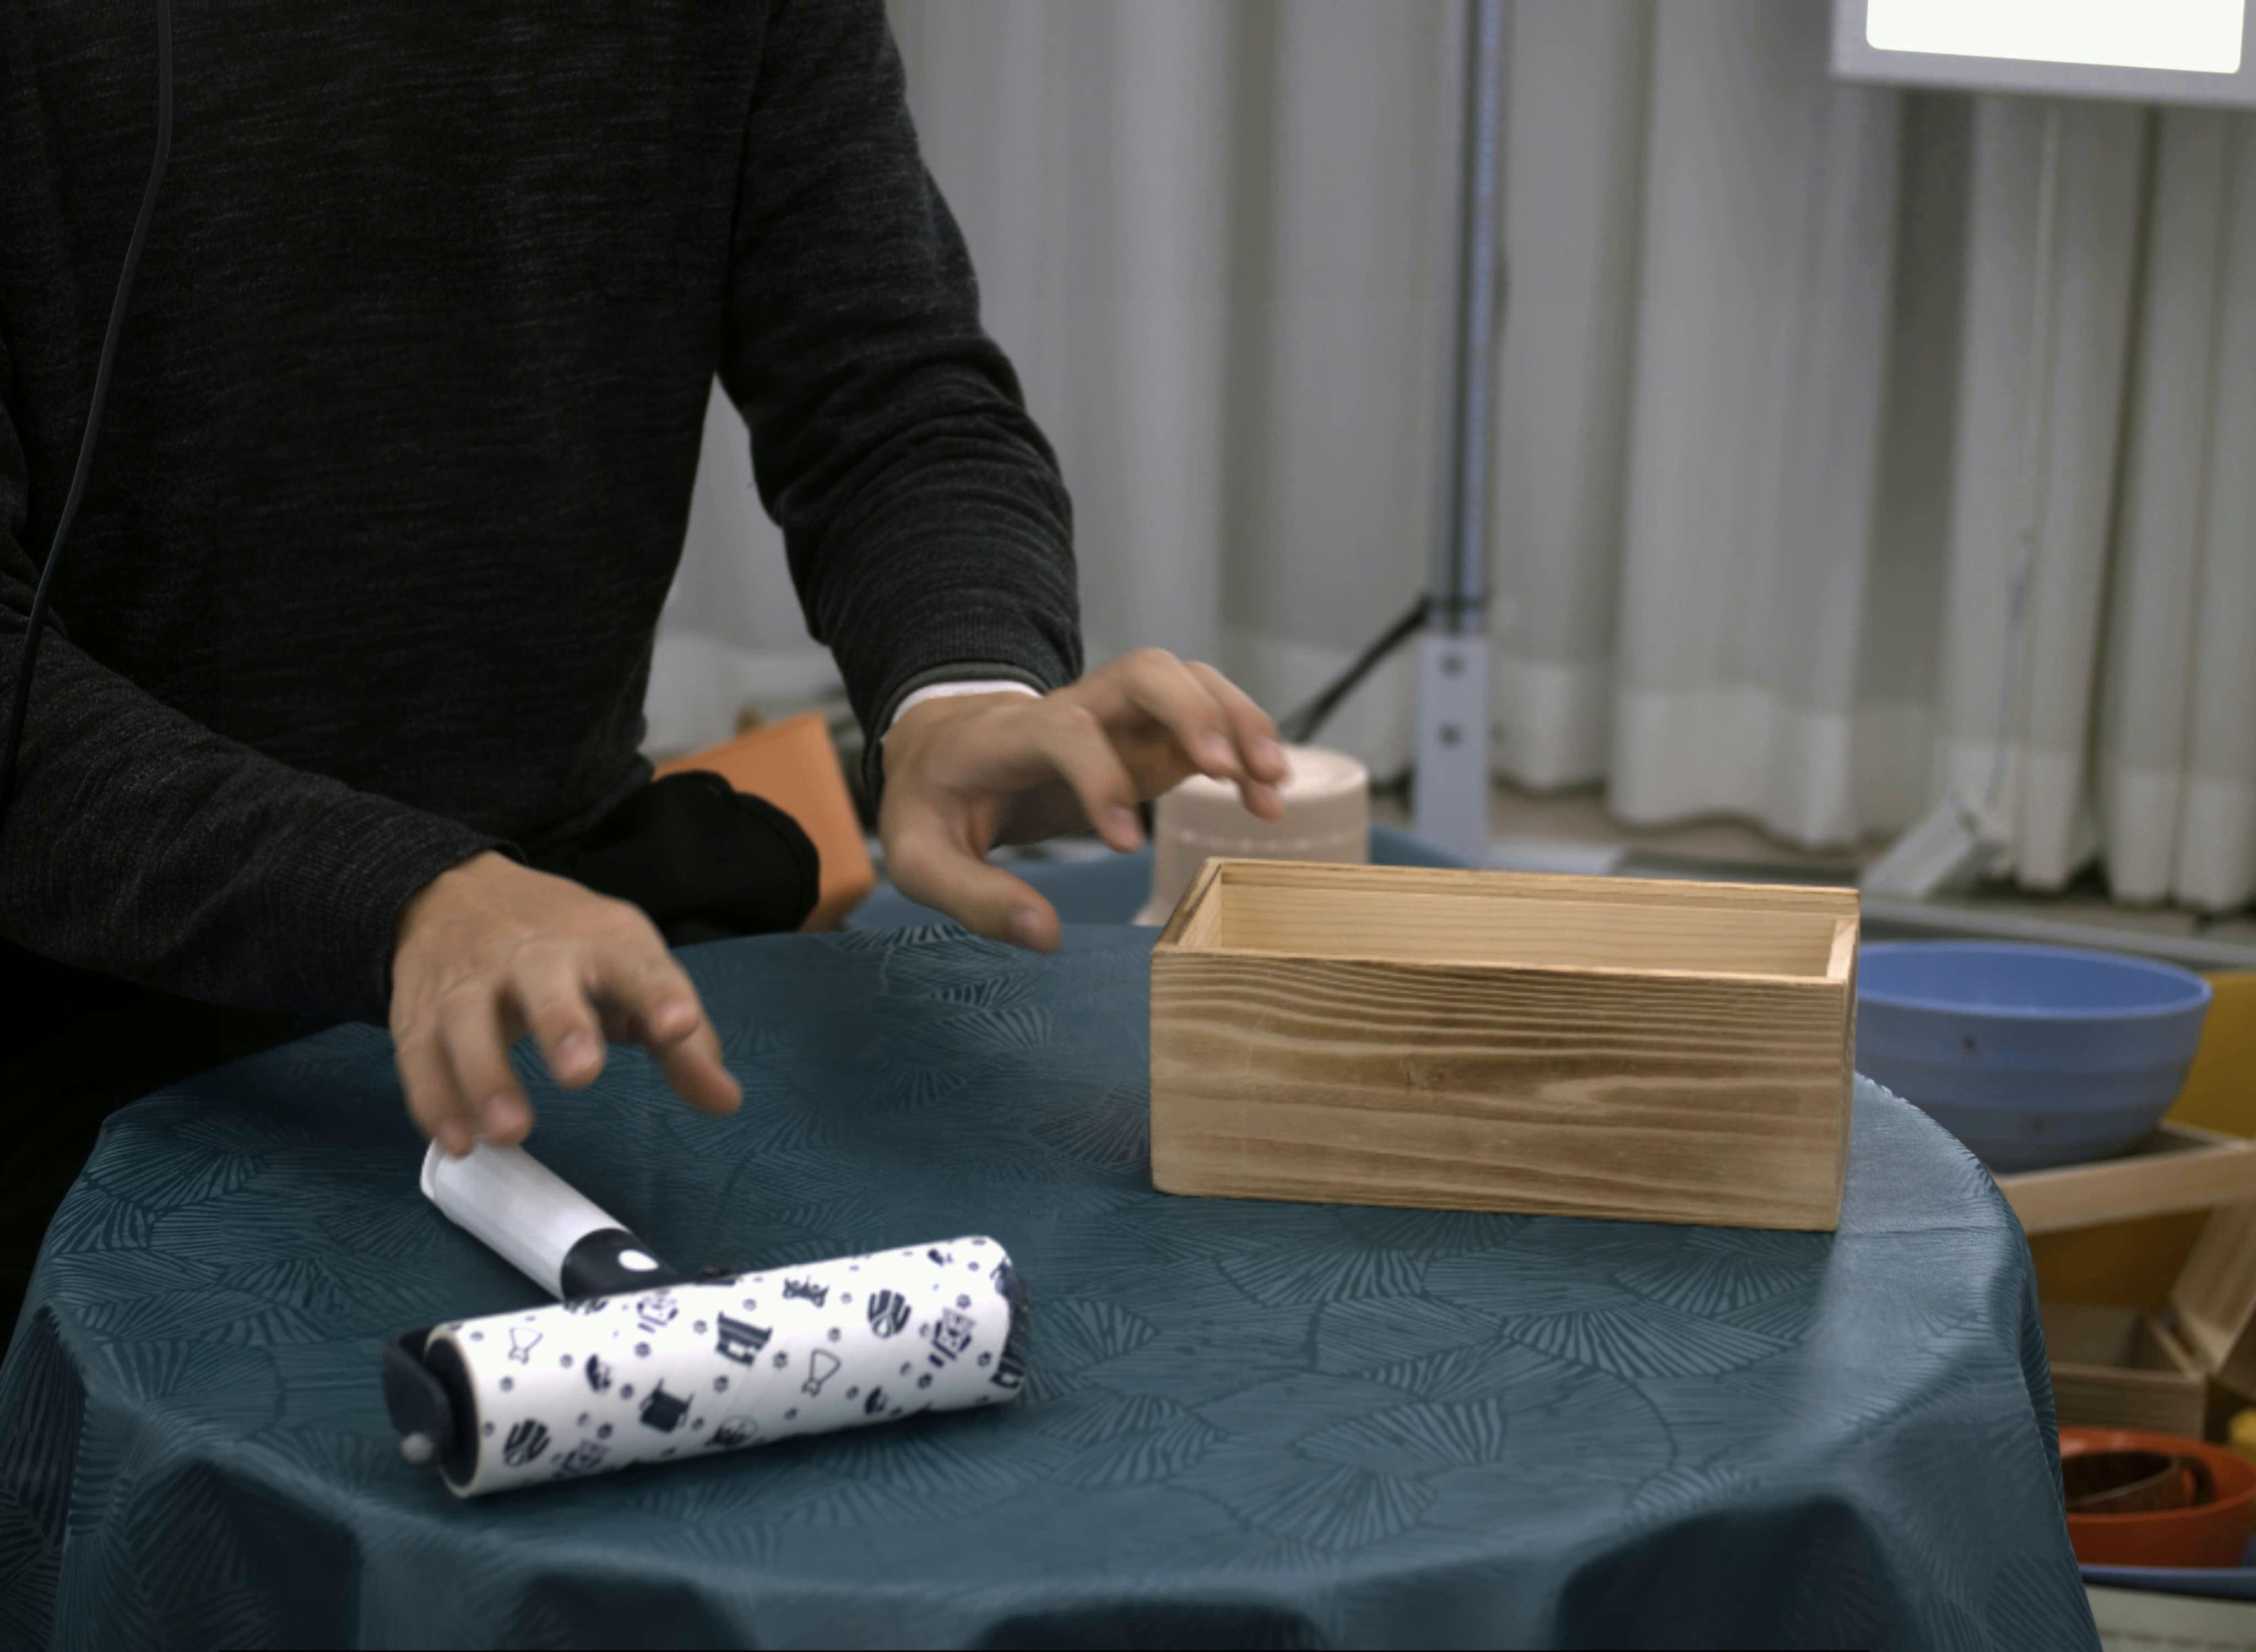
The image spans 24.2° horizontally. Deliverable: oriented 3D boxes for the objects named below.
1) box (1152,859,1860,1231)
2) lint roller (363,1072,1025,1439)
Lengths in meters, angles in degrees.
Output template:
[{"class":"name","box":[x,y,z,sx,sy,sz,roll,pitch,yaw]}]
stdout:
[{"class":"box","box":[0.119,0.067,1.640,0.210,0.081,0.107,3,16,8]},{"class":"lint roller","box":[-0.144,0.110,1.514,0.176,0.051,0.244,-2,17,-16]}]
